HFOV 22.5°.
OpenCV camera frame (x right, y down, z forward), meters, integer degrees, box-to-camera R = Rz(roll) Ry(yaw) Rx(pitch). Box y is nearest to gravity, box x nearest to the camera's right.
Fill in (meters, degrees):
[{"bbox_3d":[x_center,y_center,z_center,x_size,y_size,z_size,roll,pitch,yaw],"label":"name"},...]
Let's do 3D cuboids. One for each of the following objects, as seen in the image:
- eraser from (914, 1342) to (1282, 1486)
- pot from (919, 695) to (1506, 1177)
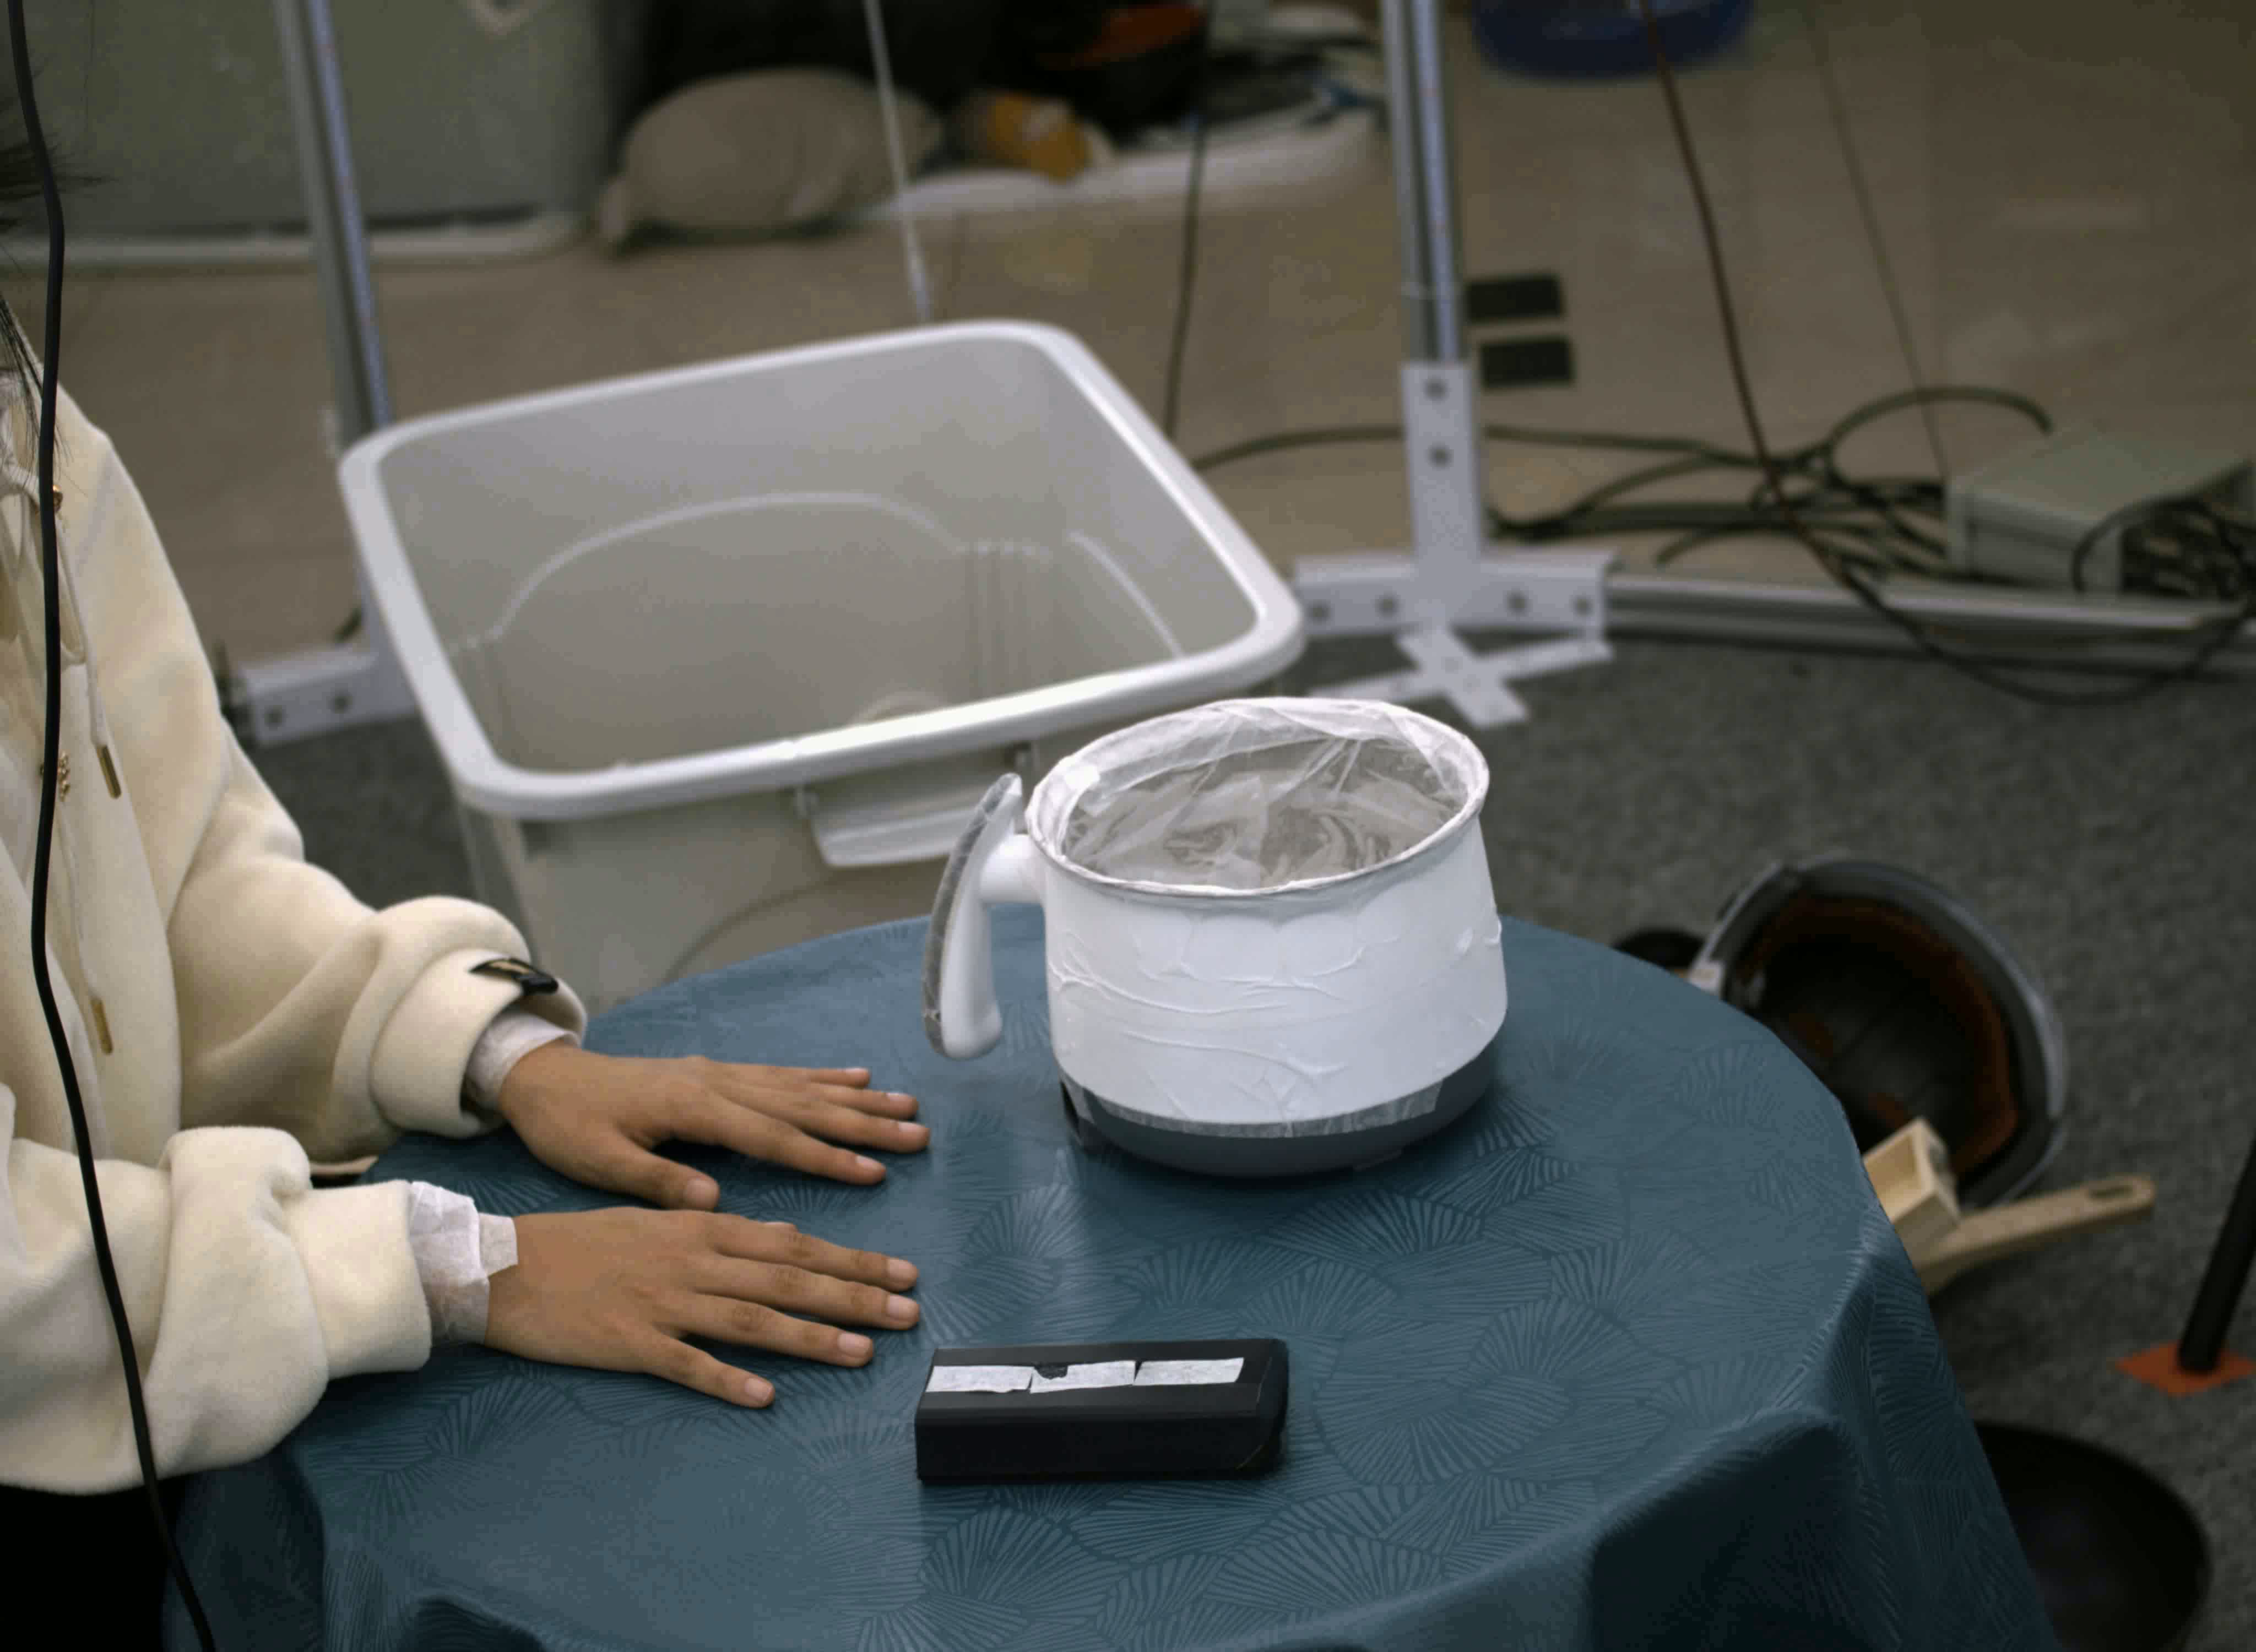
[{"bbox_3d":[-0.009,0.204,1.978,0.125,0.031,0.053,-3,25,10],"label":"eraser"},{"bbox_3d":[0.029,0.043,2.179,0.233,0.139,0.176,2,26,16],"label":"pot"}]
